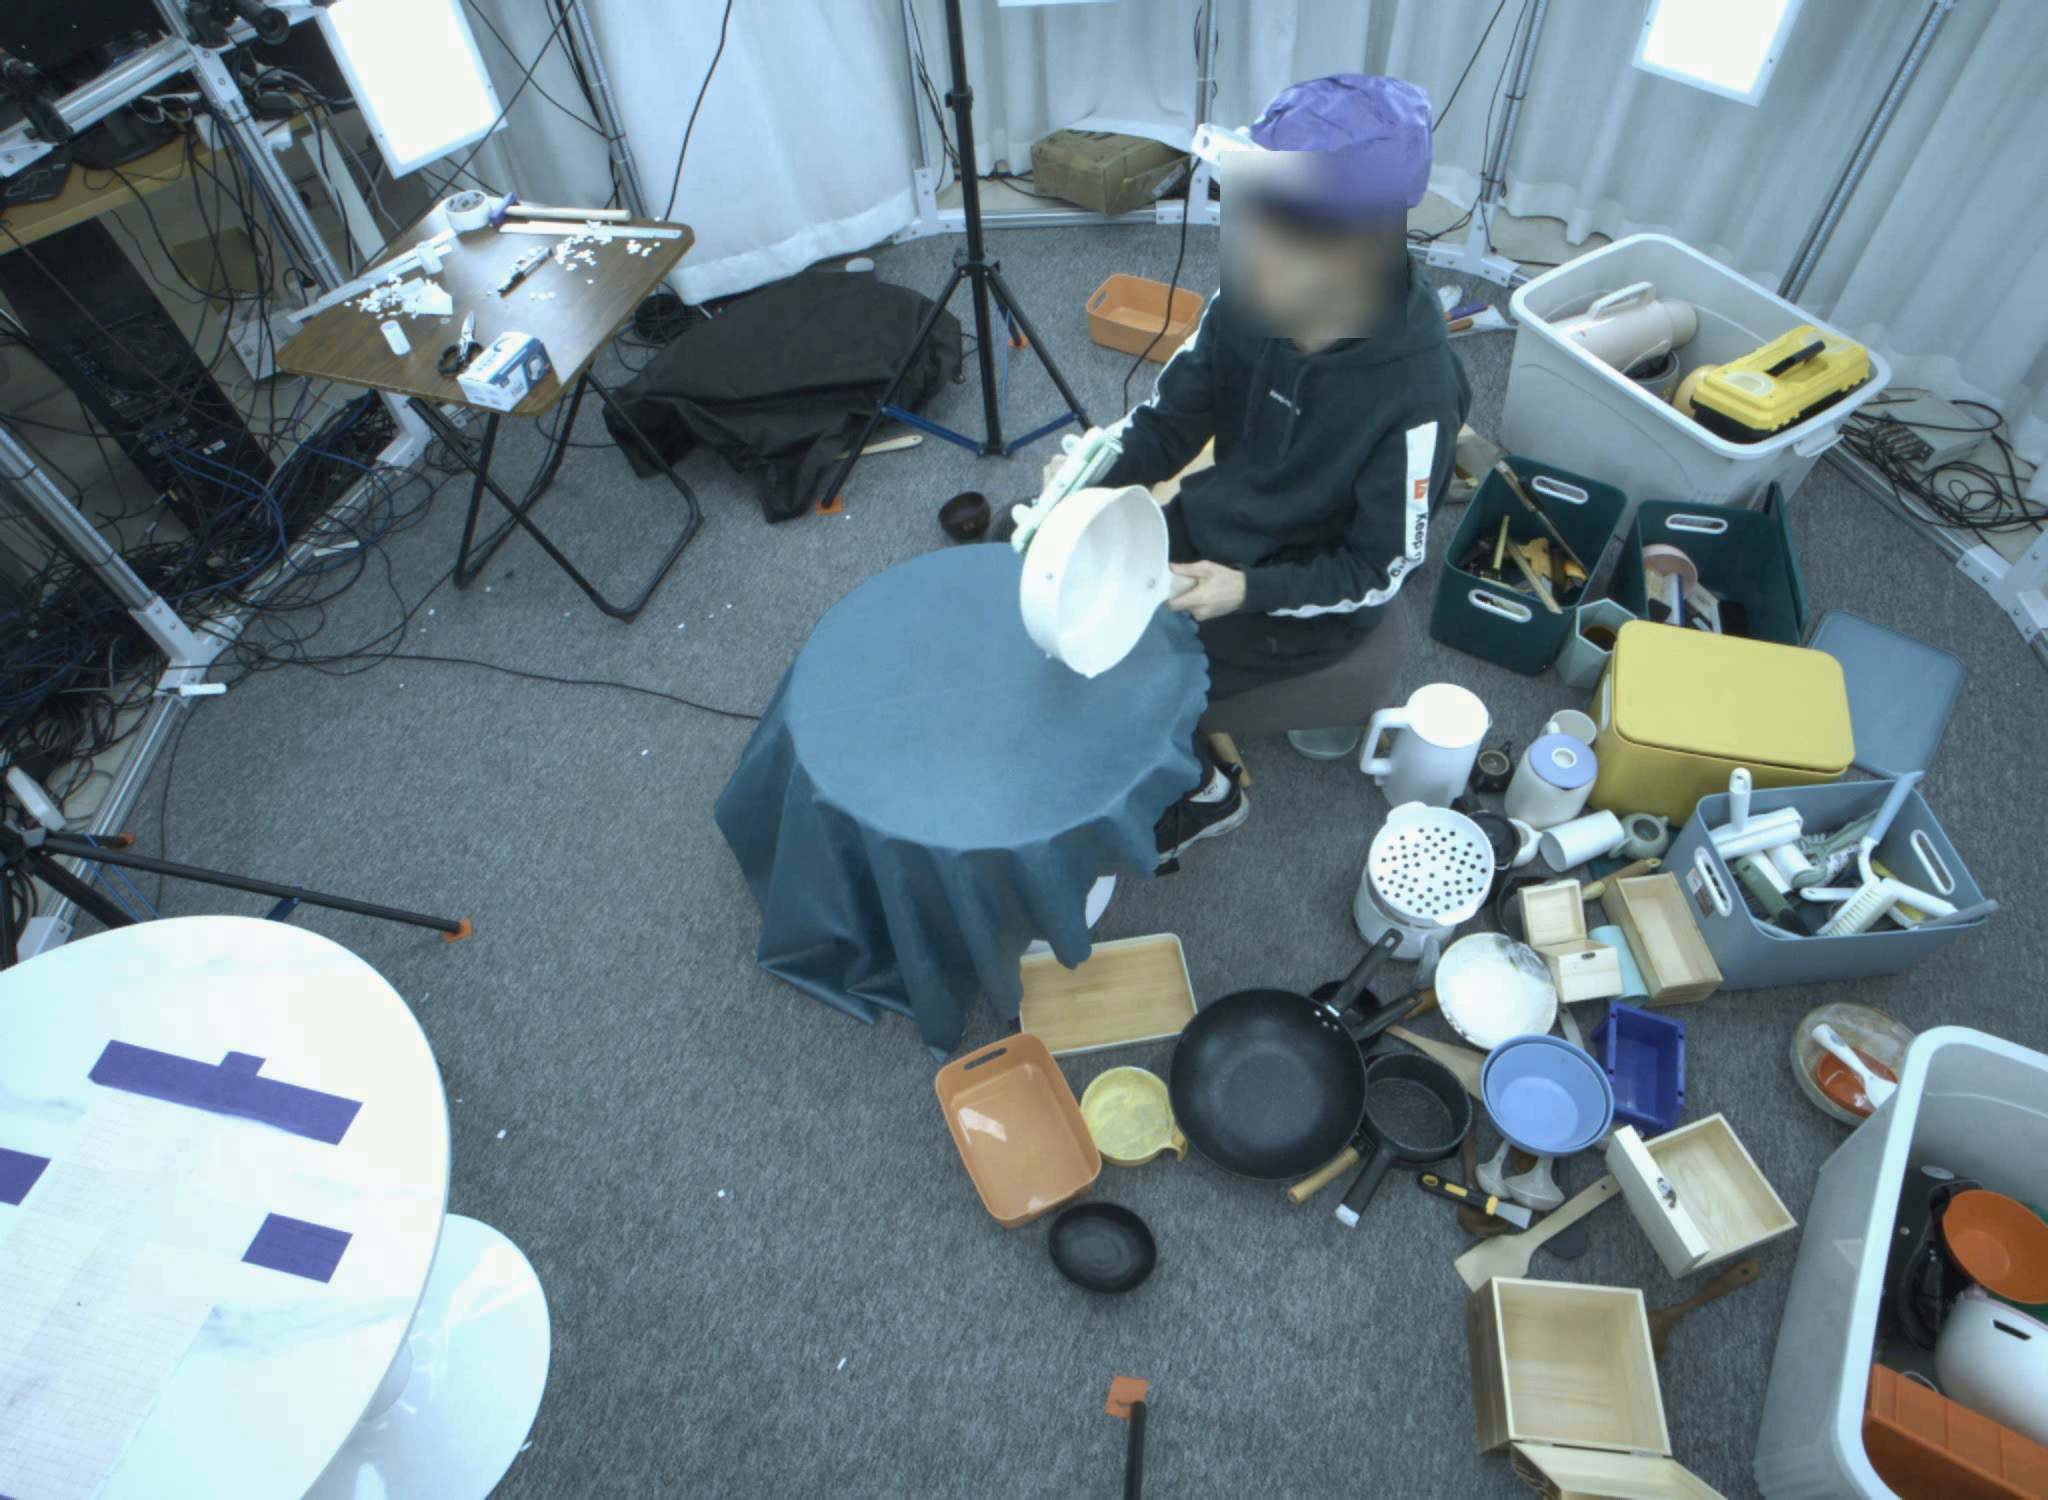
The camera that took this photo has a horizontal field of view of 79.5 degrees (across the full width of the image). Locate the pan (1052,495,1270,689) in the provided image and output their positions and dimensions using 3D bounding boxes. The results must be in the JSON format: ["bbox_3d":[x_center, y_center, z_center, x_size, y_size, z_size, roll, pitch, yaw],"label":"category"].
[{"bbox_3d":[0.194,-0.223,1.702,0.100,0.264,0.443,24,19,34],"label":"pan"}]

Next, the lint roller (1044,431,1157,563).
[{"bbox_3d":[0.097,-0.360,1.679,0.083,0.198,0.182,35,20,-12],"label":"lint roller"}]
